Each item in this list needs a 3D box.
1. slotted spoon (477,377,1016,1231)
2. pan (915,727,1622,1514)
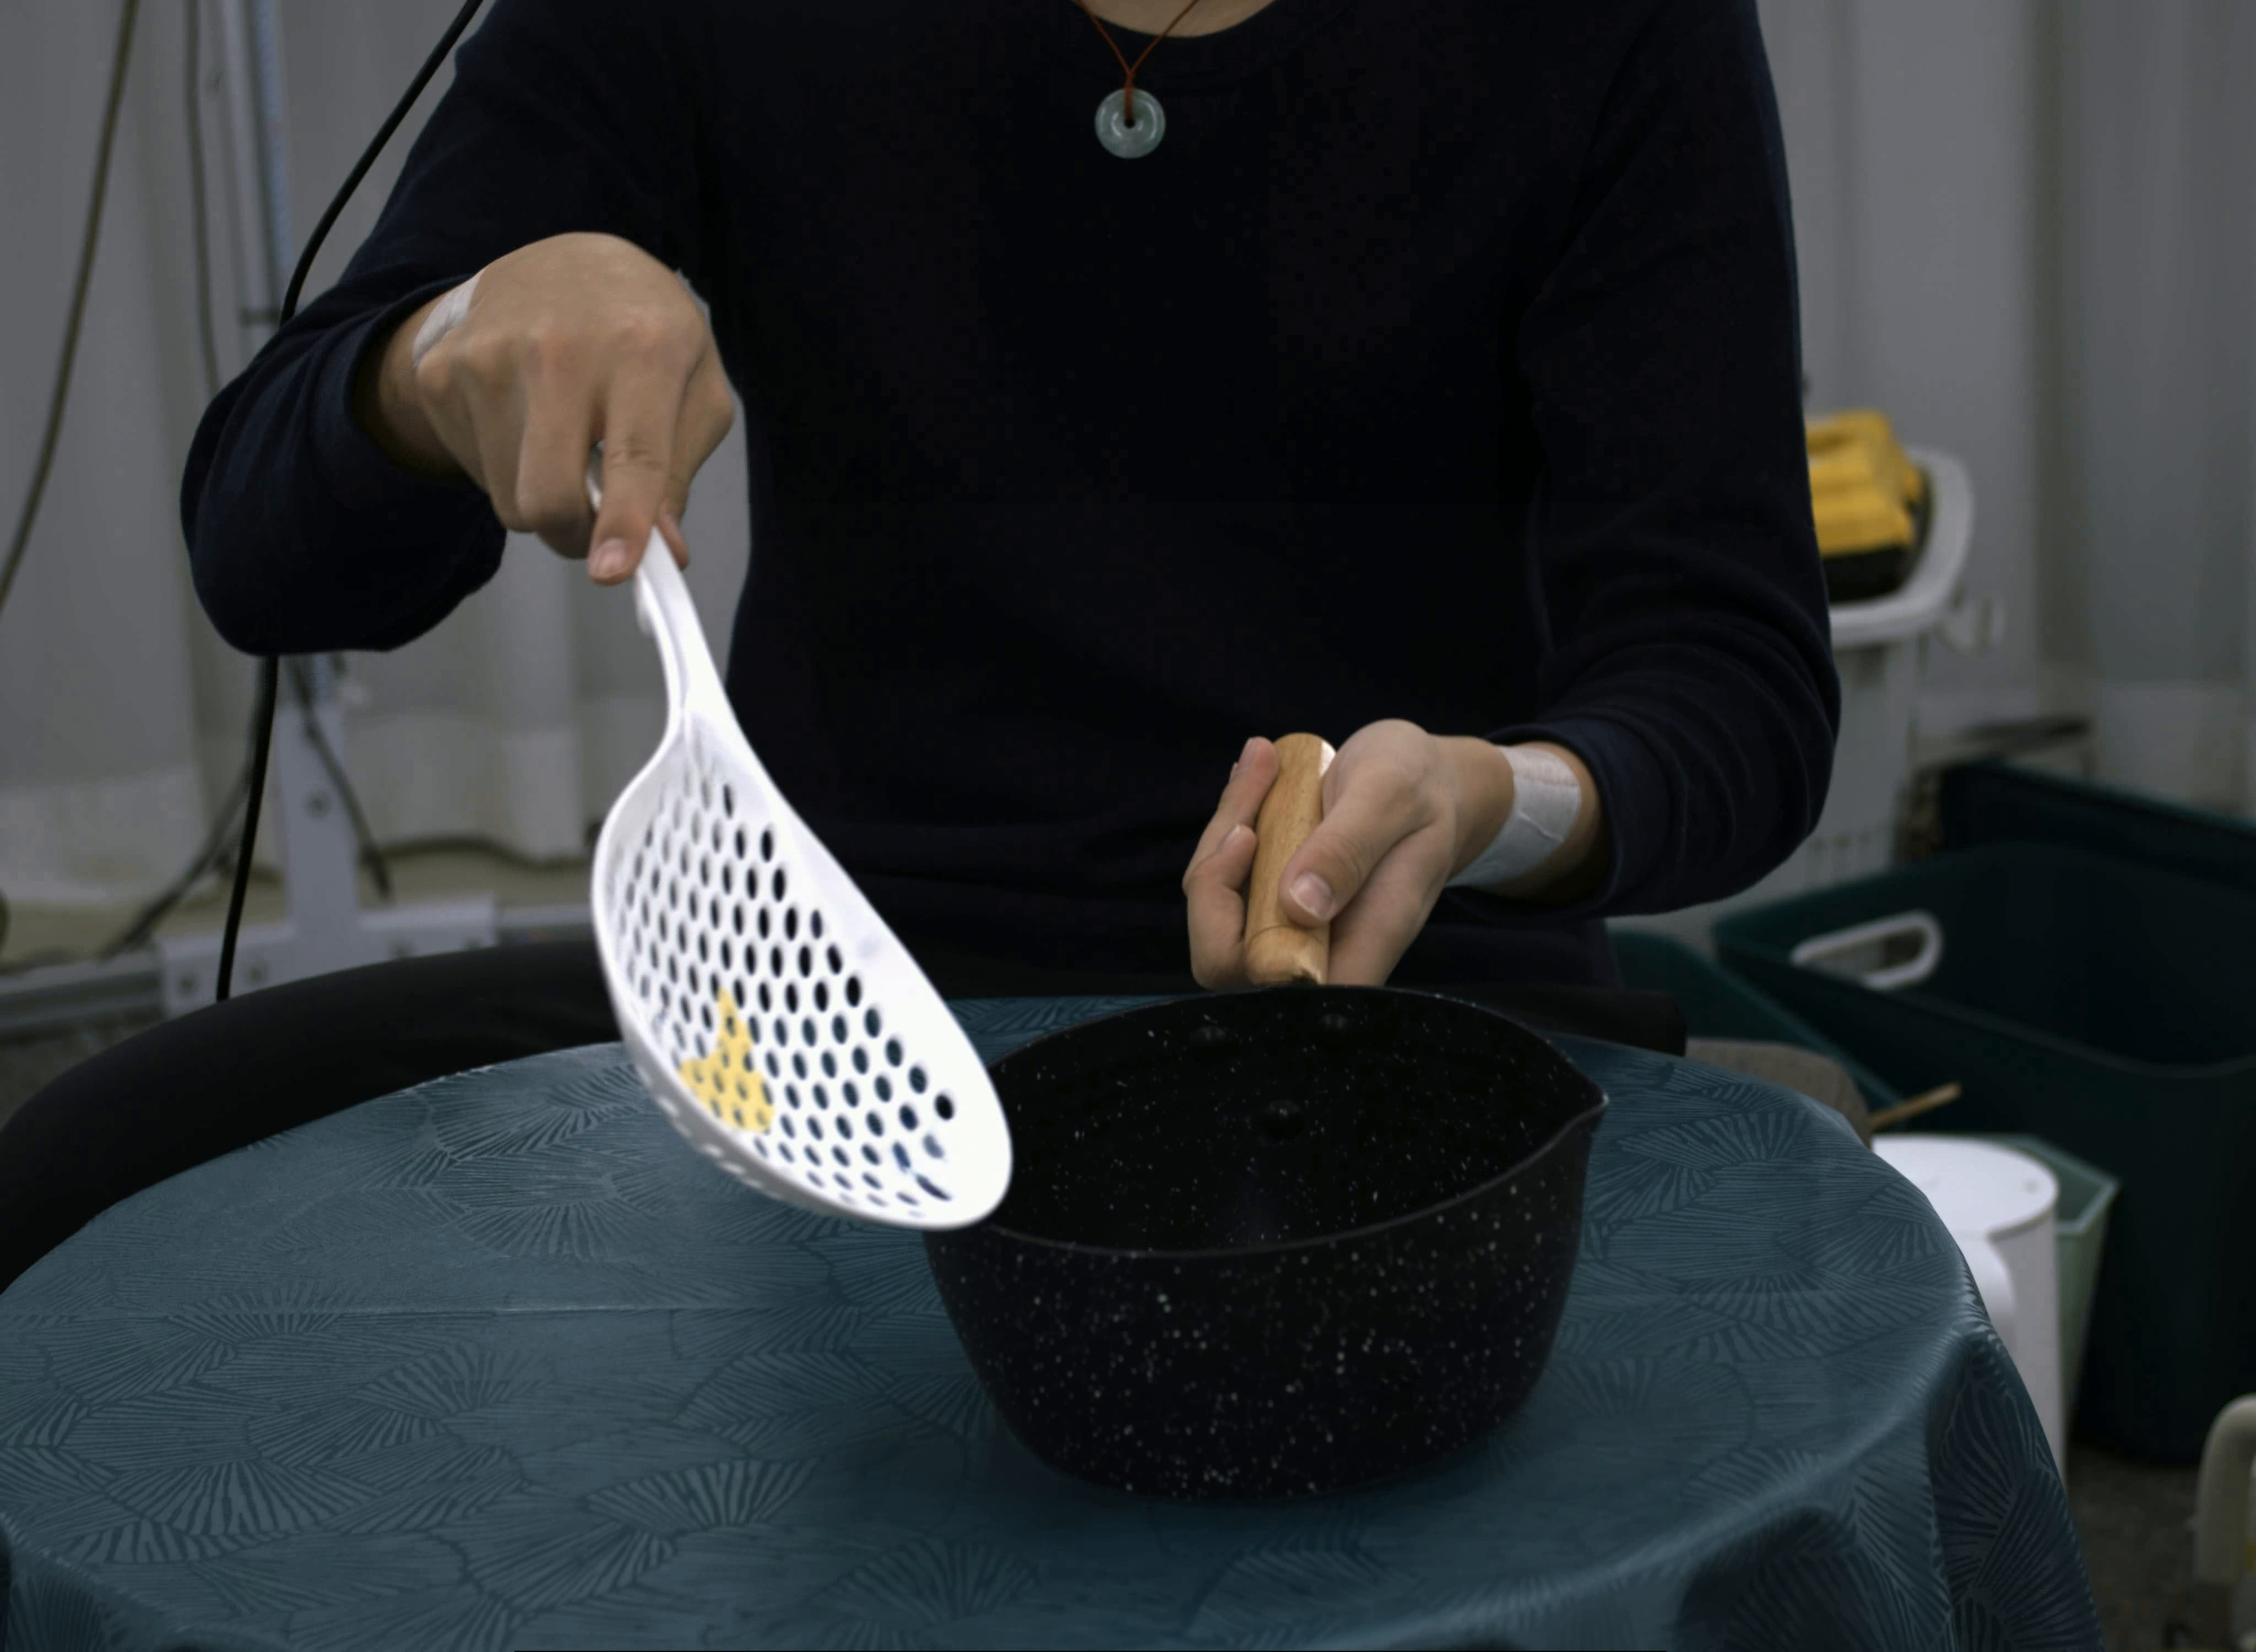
[{"bbox_3d":[-0.126,-0.016,1.532,0.135,0.050,0.353,20,37,-38],"label":"slotted spoon"},{"bbox_3d":[0.042,0.080,1.583,0.207,0.107,0.346,-5,21,7],"label":"pan"}]
